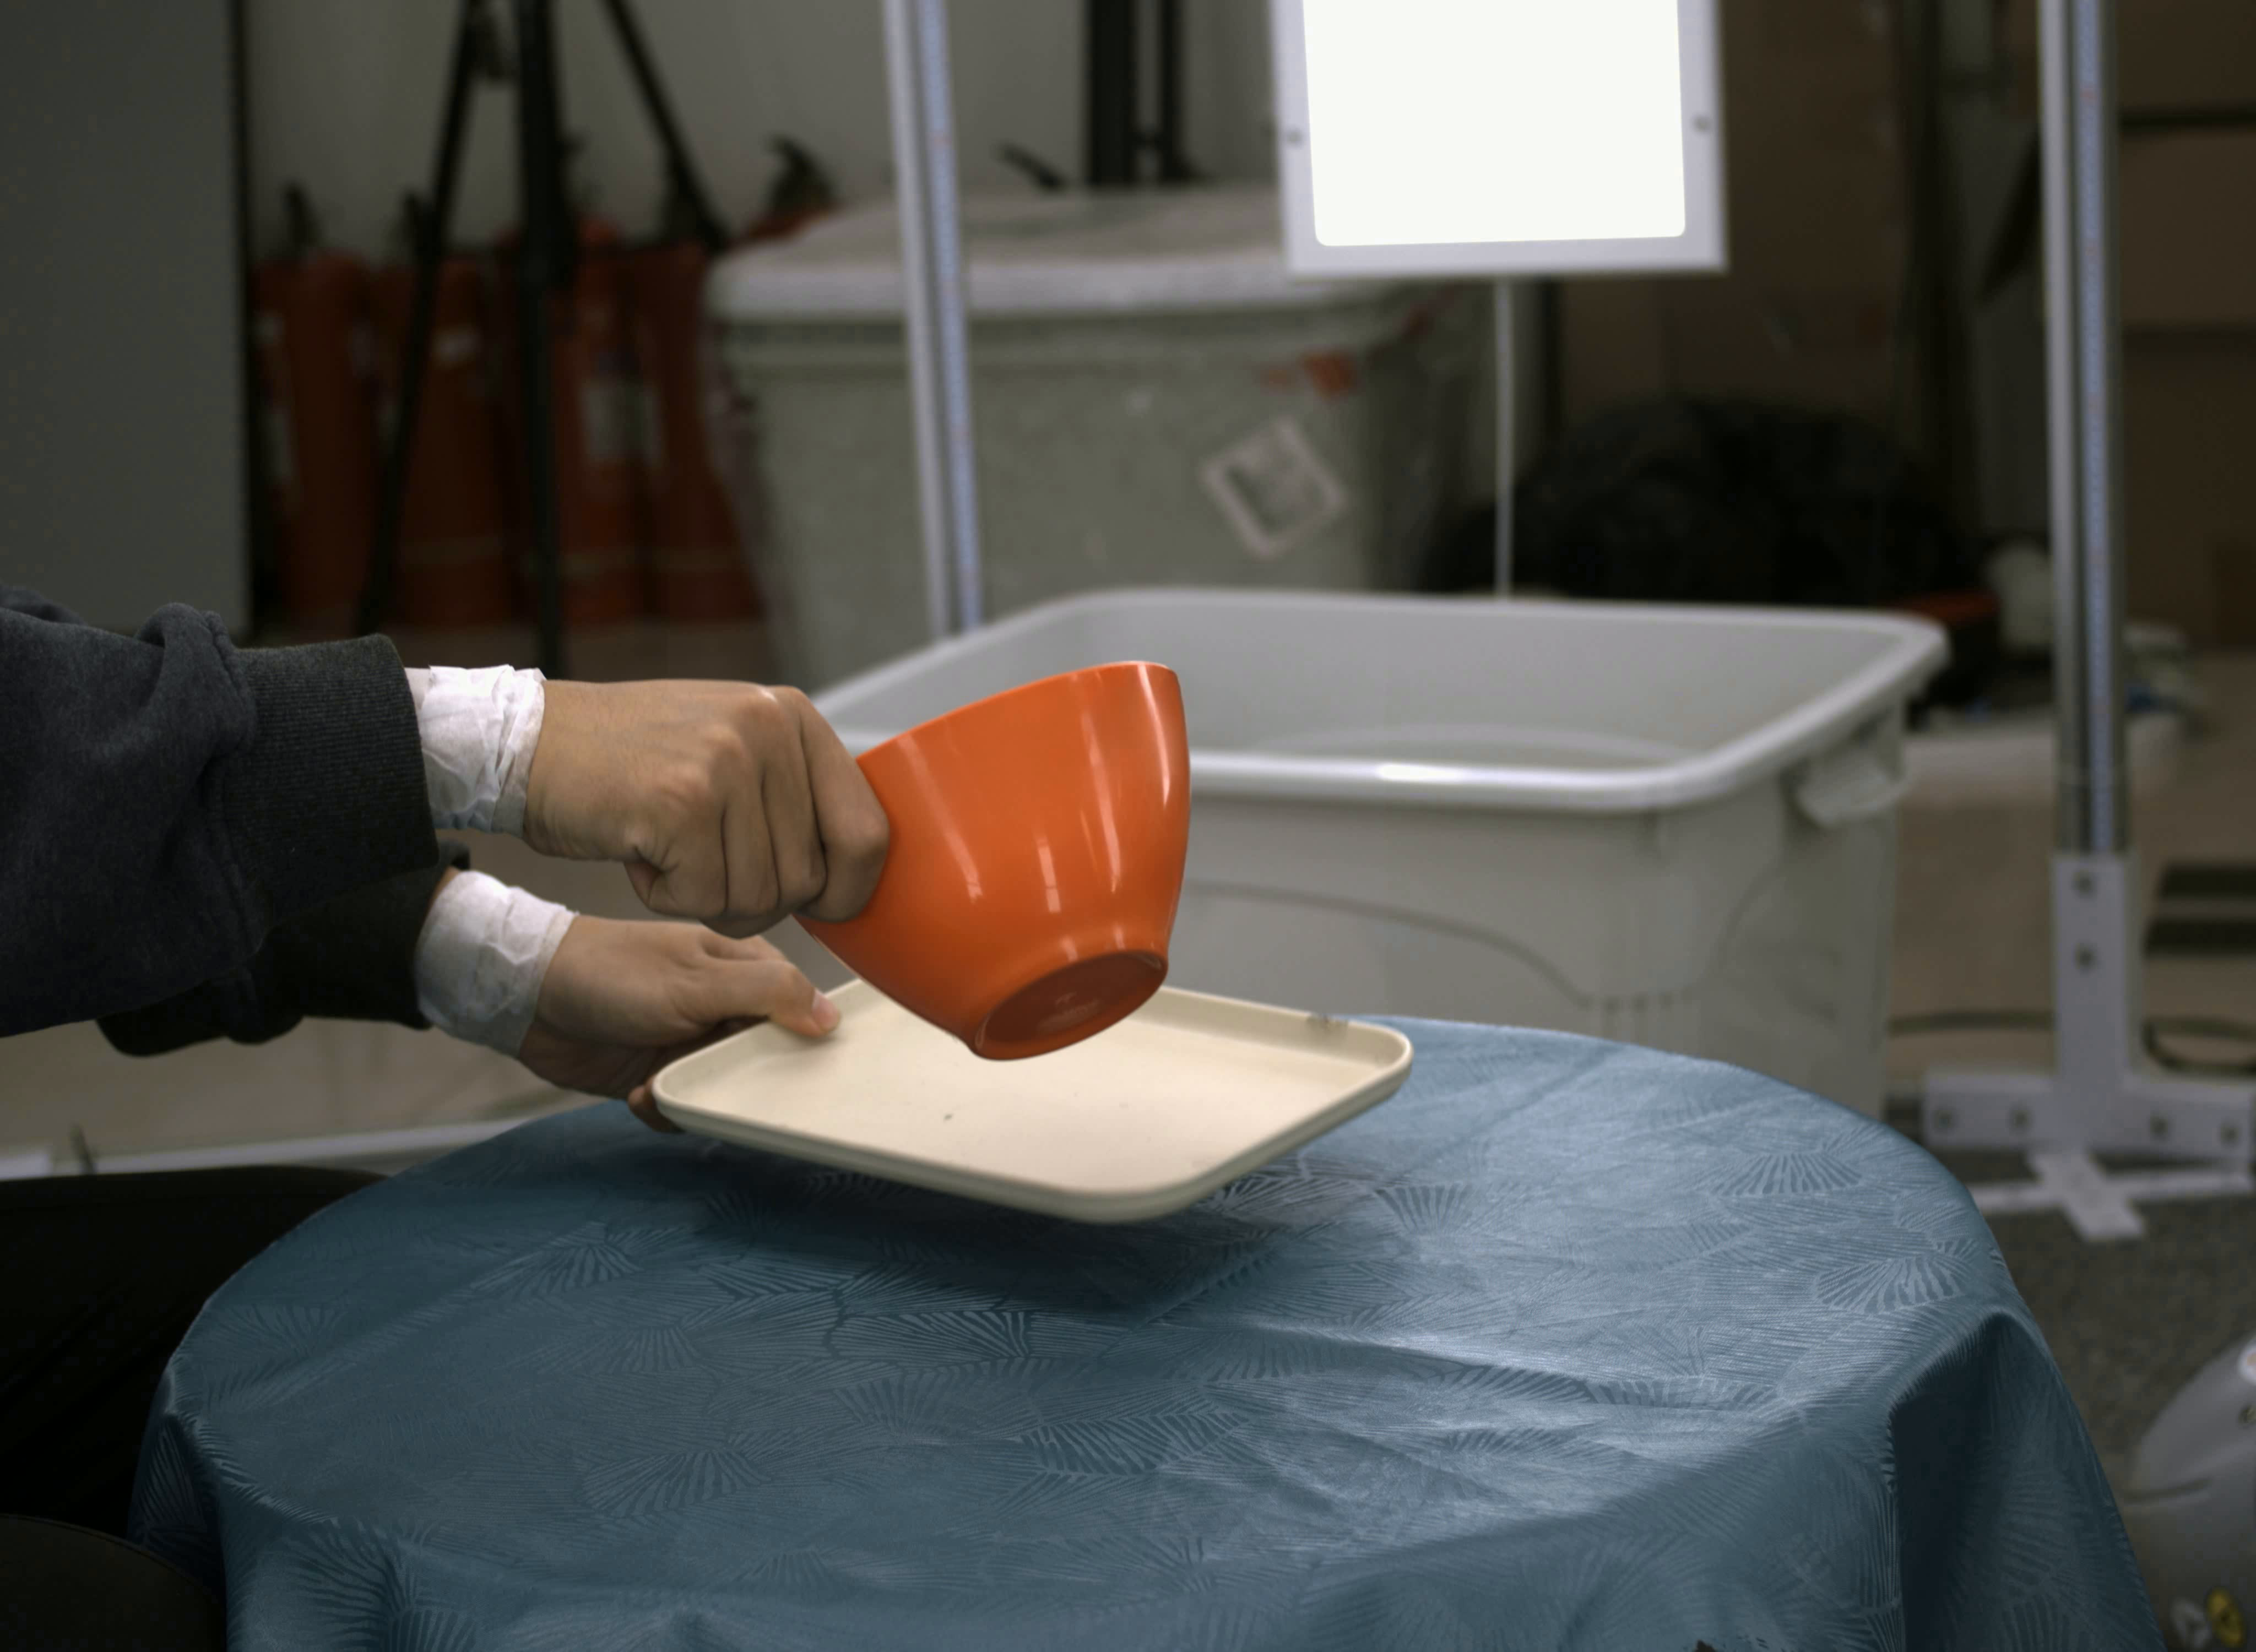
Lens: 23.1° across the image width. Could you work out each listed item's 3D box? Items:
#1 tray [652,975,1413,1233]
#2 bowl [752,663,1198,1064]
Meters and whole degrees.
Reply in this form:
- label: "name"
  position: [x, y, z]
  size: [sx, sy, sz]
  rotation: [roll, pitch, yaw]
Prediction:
- label: "tray"
  position: [-0.034, 0.091, 1.900]
  size: [0.245, 0.017, 0.167]
  rotation: [10, 25, 41]
- label: "bowl"
  position: [-0.035, 0.017, 1.710]
  size: [0.146, 0.105, 0.148]
  rotation: [-18, -23, -9]
